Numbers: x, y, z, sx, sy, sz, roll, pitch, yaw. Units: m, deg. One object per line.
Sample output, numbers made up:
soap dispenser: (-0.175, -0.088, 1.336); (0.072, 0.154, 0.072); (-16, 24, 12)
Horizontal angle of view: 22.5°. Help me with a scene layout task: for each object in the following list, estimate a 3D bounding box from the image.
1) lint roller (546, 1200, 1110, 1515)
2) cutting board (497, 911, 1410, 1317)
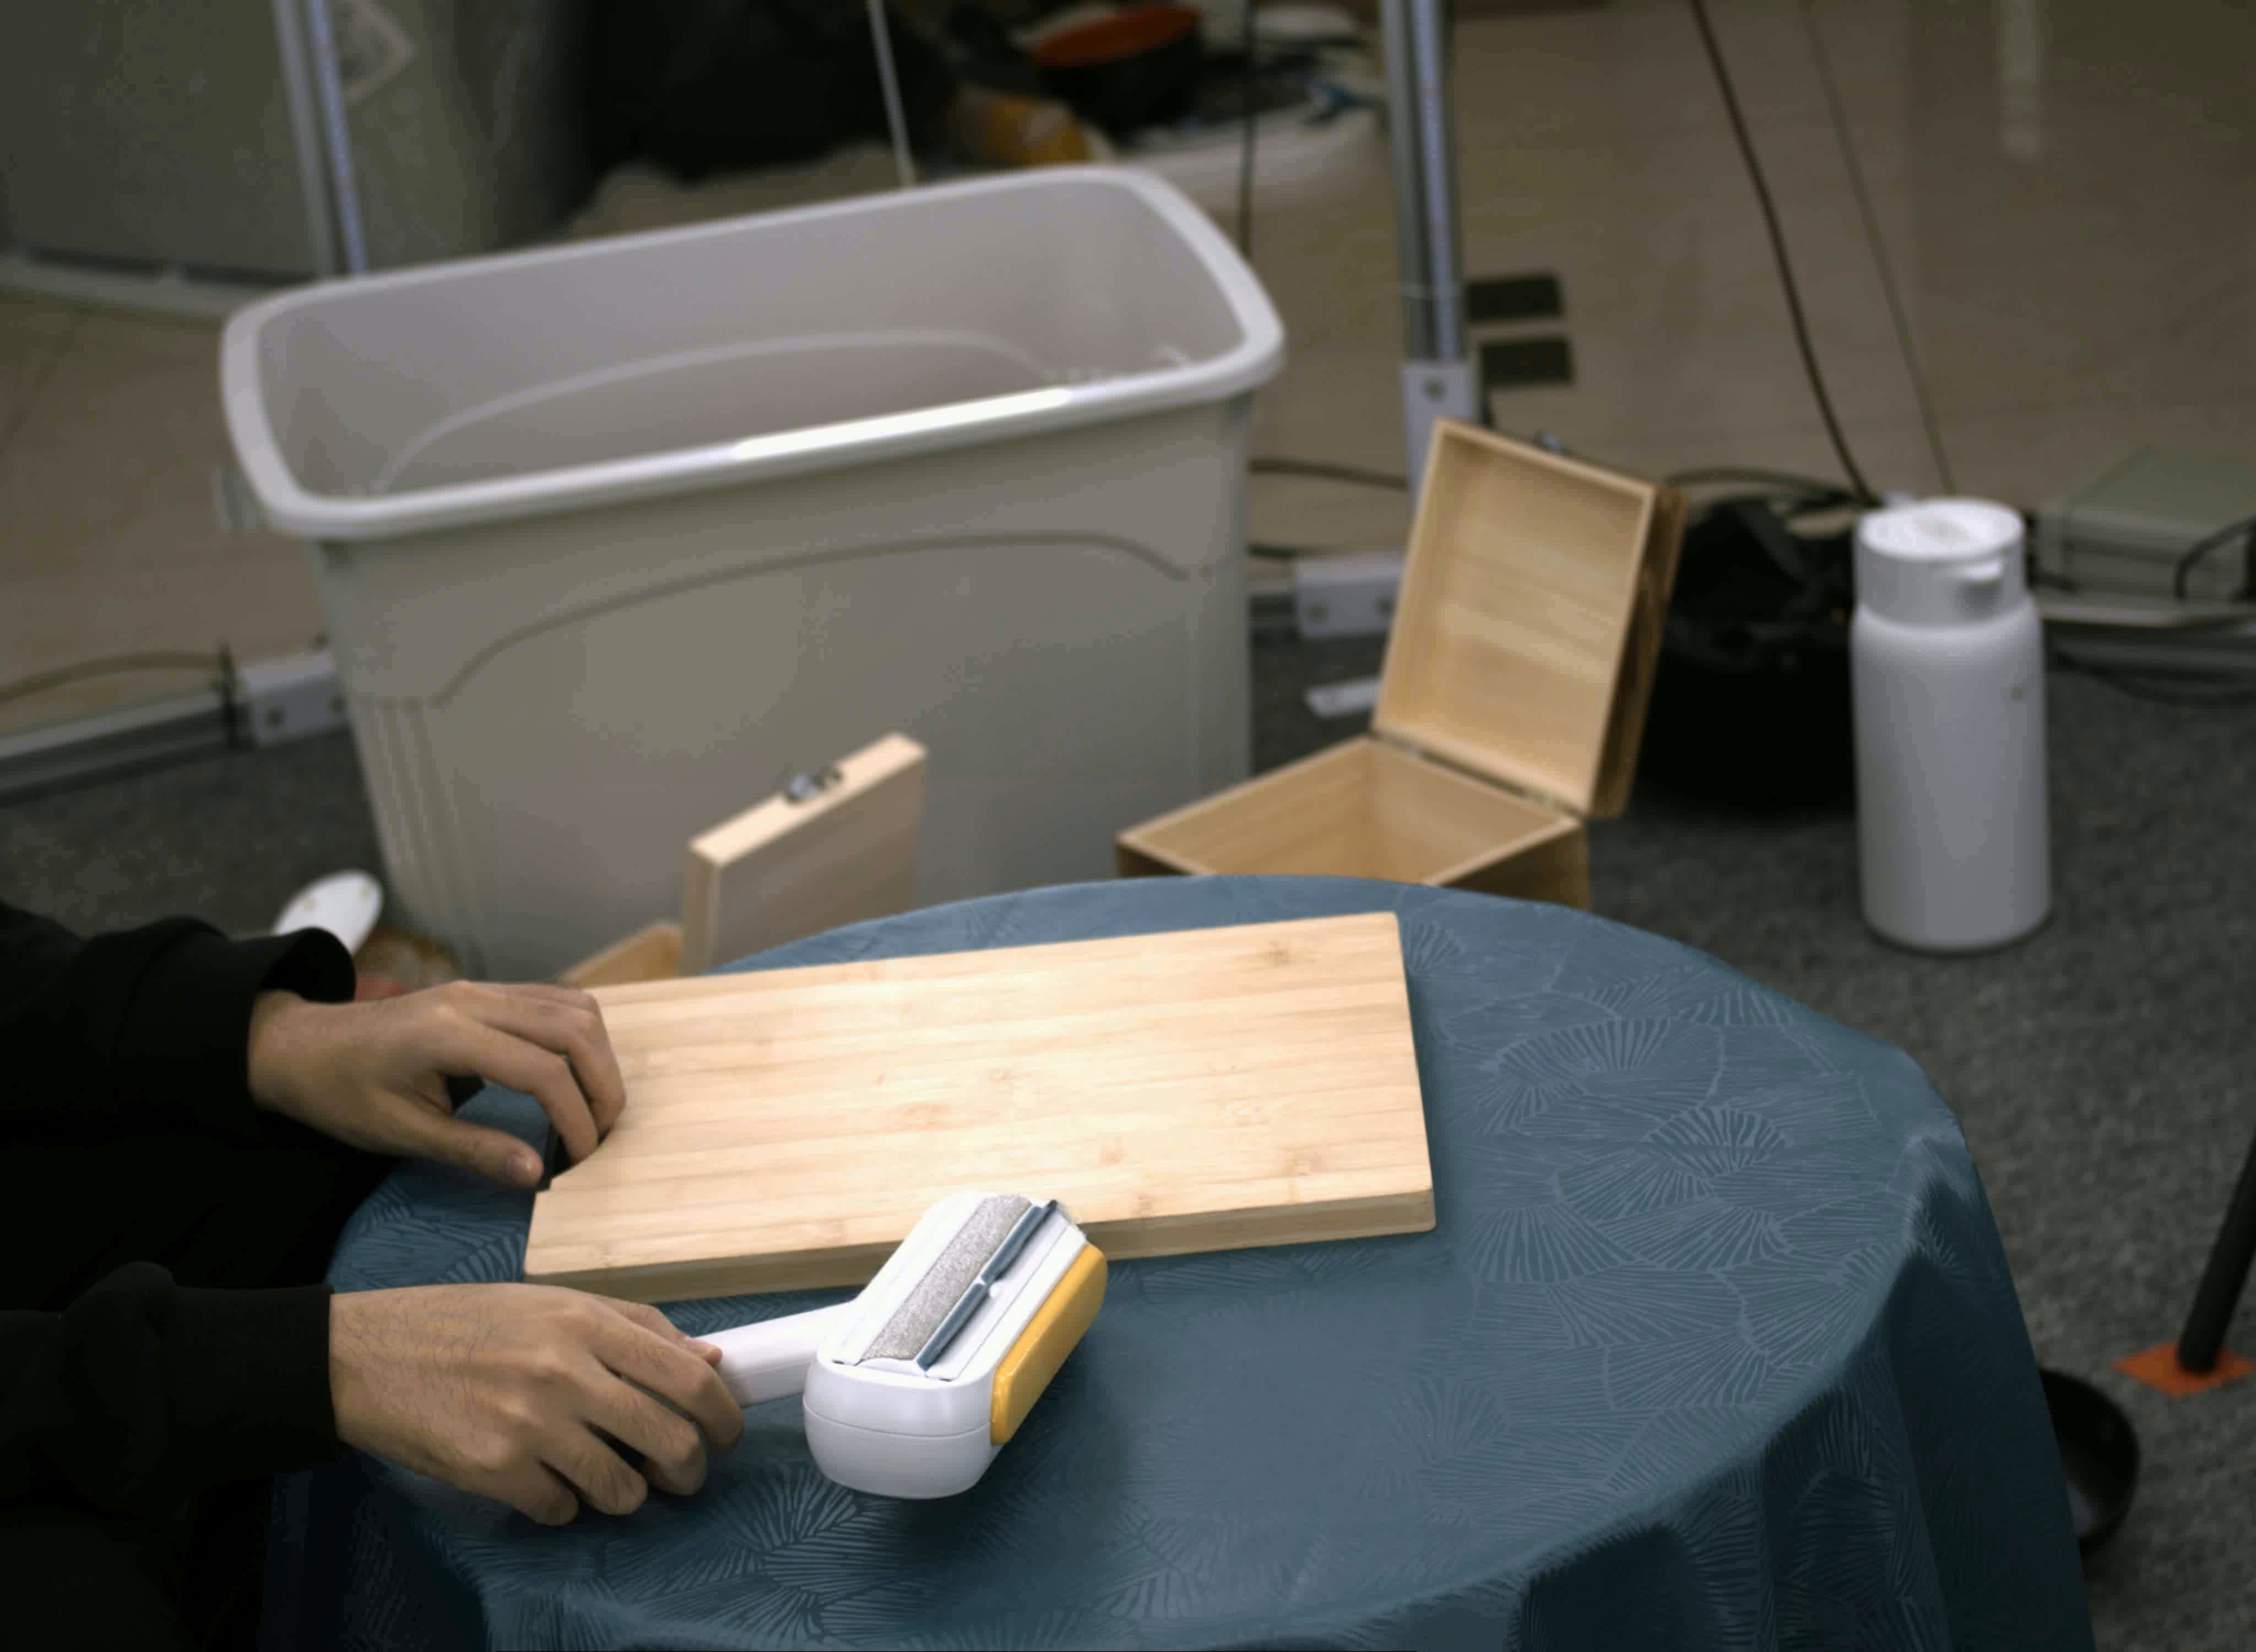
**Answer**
lint roller: (-0.117, 0.188, 1.988); (0.192, 0.075, 0.190); (0, 20, 18)
cutting board: (-0.063, 0.109, 2.204); (0.348, 0.024, 0.247); (-6, 25, 2)
